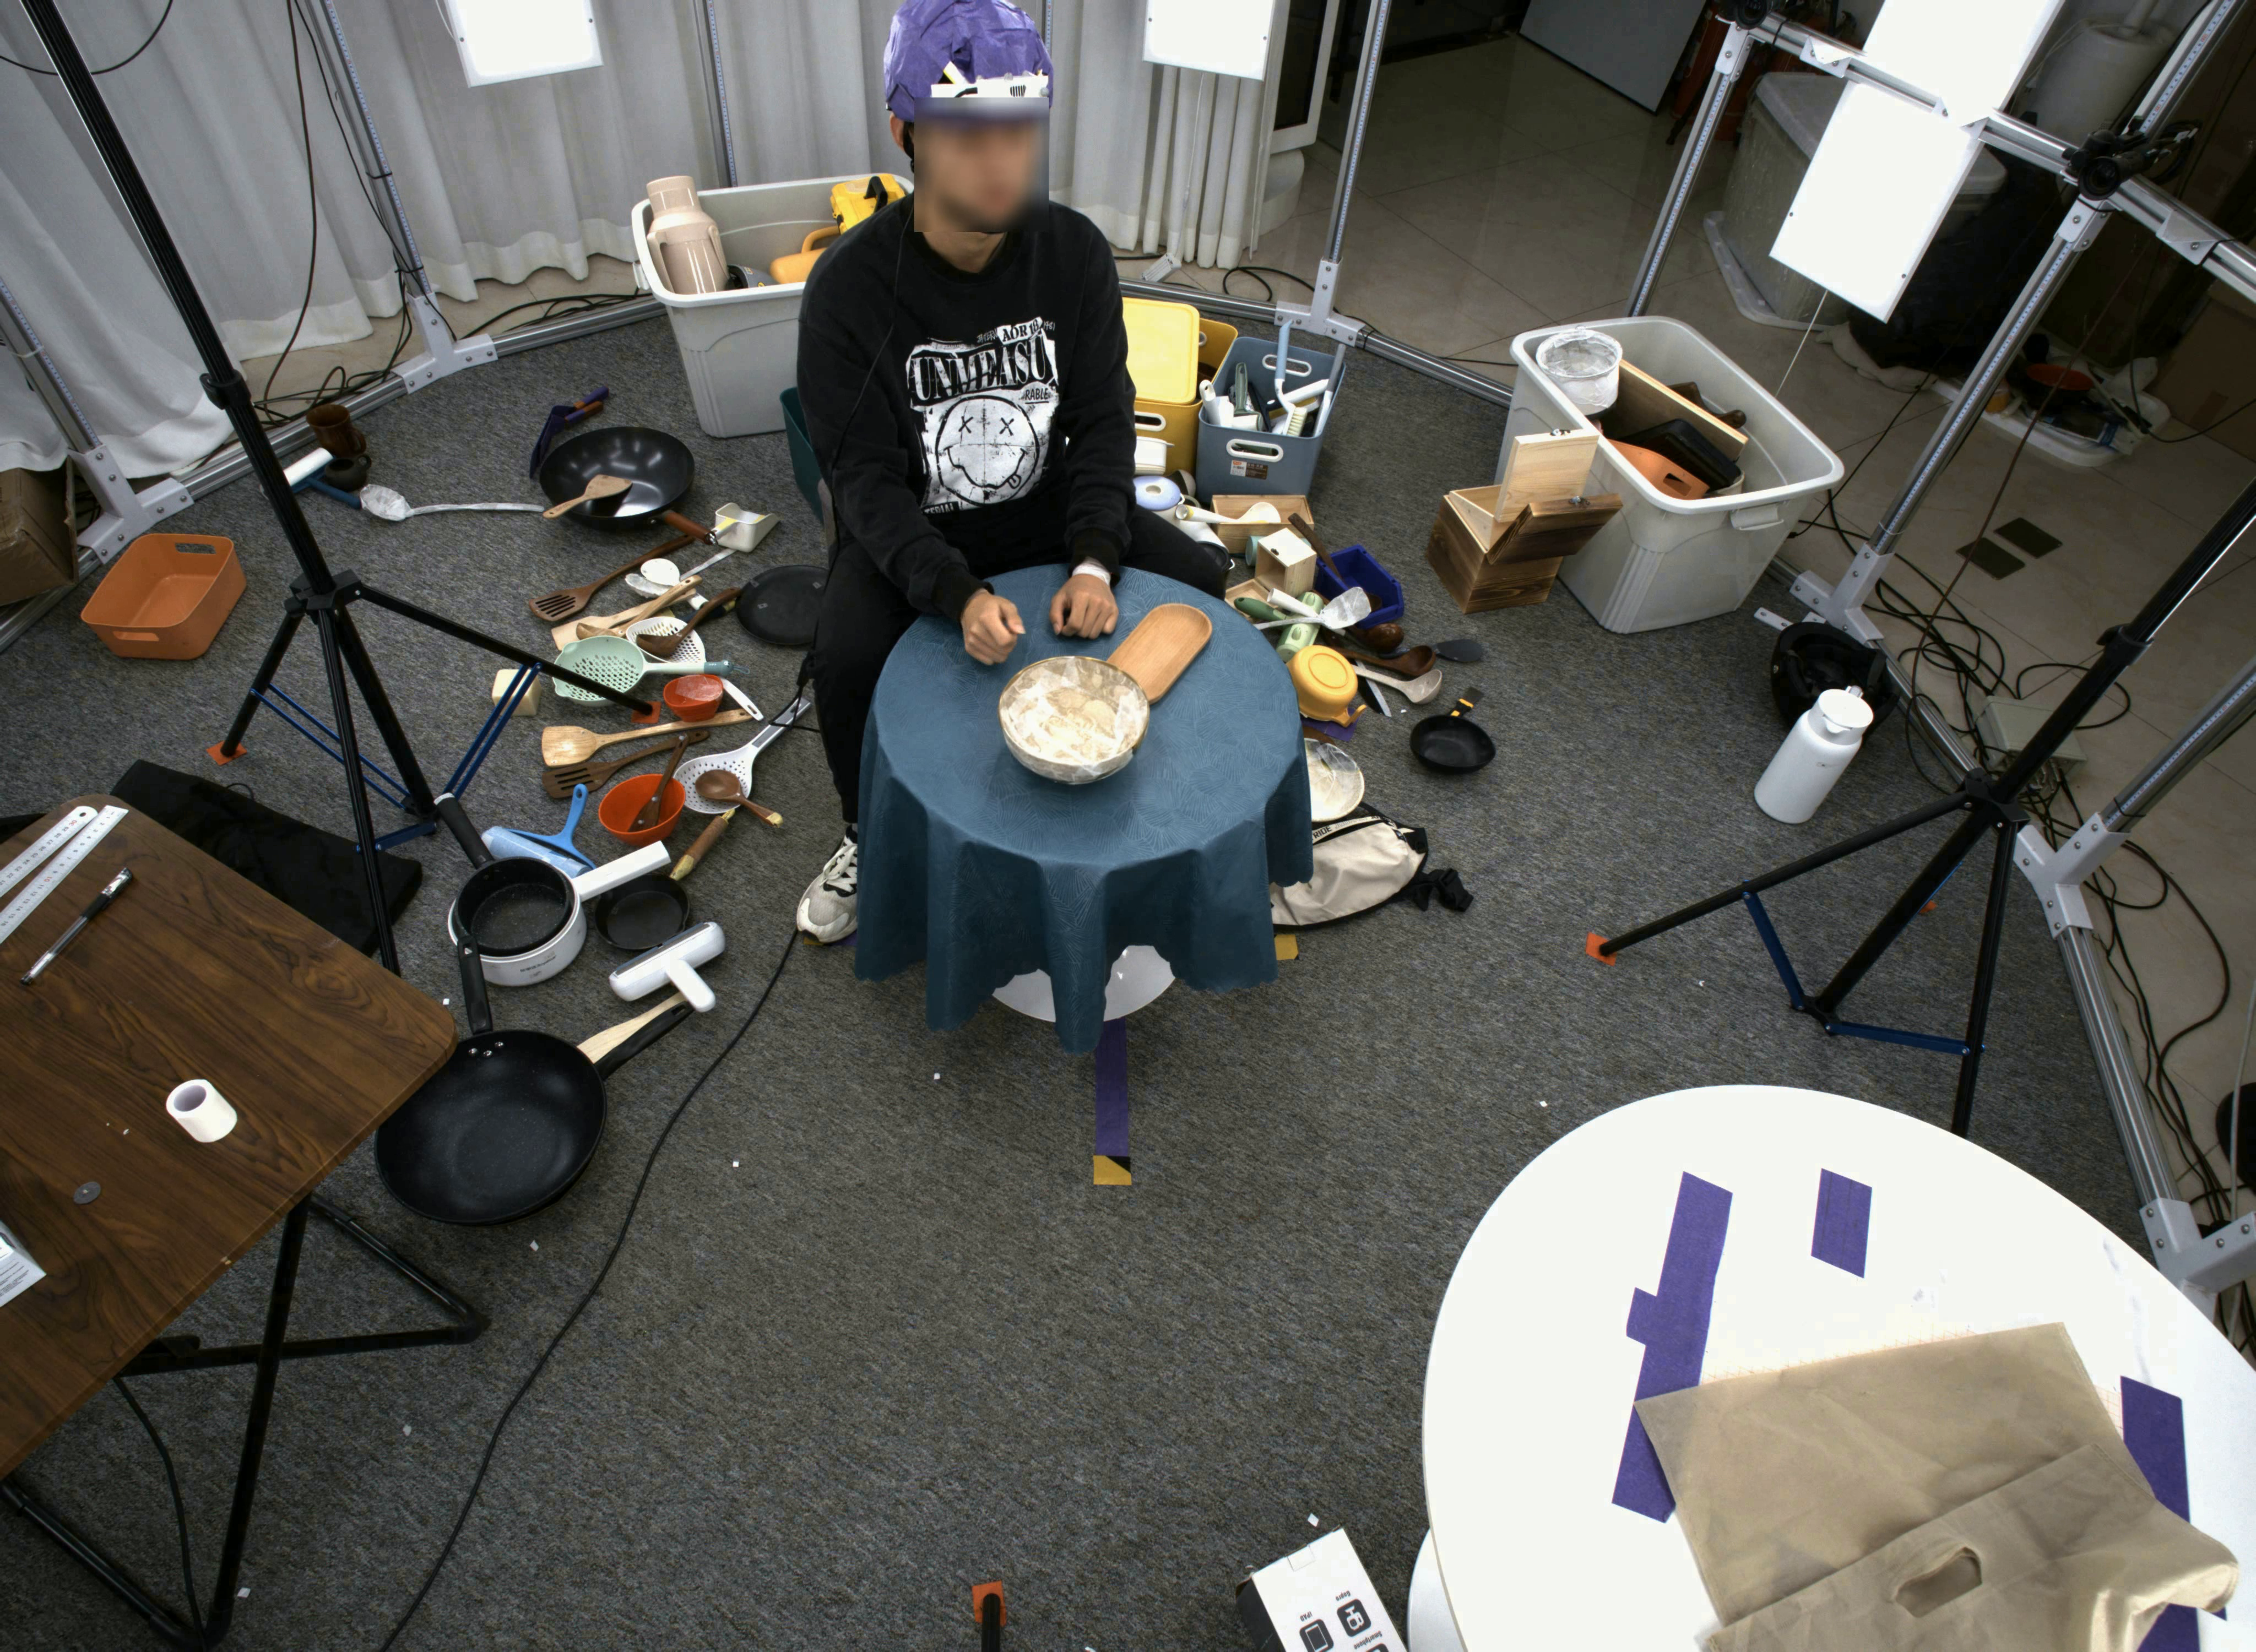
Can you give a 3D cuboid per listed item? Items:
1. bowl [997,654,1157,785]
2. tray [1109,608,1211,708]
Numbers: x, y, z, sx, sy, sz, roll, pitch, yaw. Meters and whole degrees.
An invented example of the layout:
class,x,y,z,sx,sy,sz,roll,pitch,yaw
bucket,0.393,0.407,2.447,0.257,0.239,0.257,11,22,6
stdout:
class,x,y,z,sx,sy,sz,roll,pitch,yaw
bowl,-0.069,-0.129,1.731,0.214,0.092,0.220,1,49,-1
tray,0.042,-0.247,1.893,0.102,0.020,0.235,23,53,18
